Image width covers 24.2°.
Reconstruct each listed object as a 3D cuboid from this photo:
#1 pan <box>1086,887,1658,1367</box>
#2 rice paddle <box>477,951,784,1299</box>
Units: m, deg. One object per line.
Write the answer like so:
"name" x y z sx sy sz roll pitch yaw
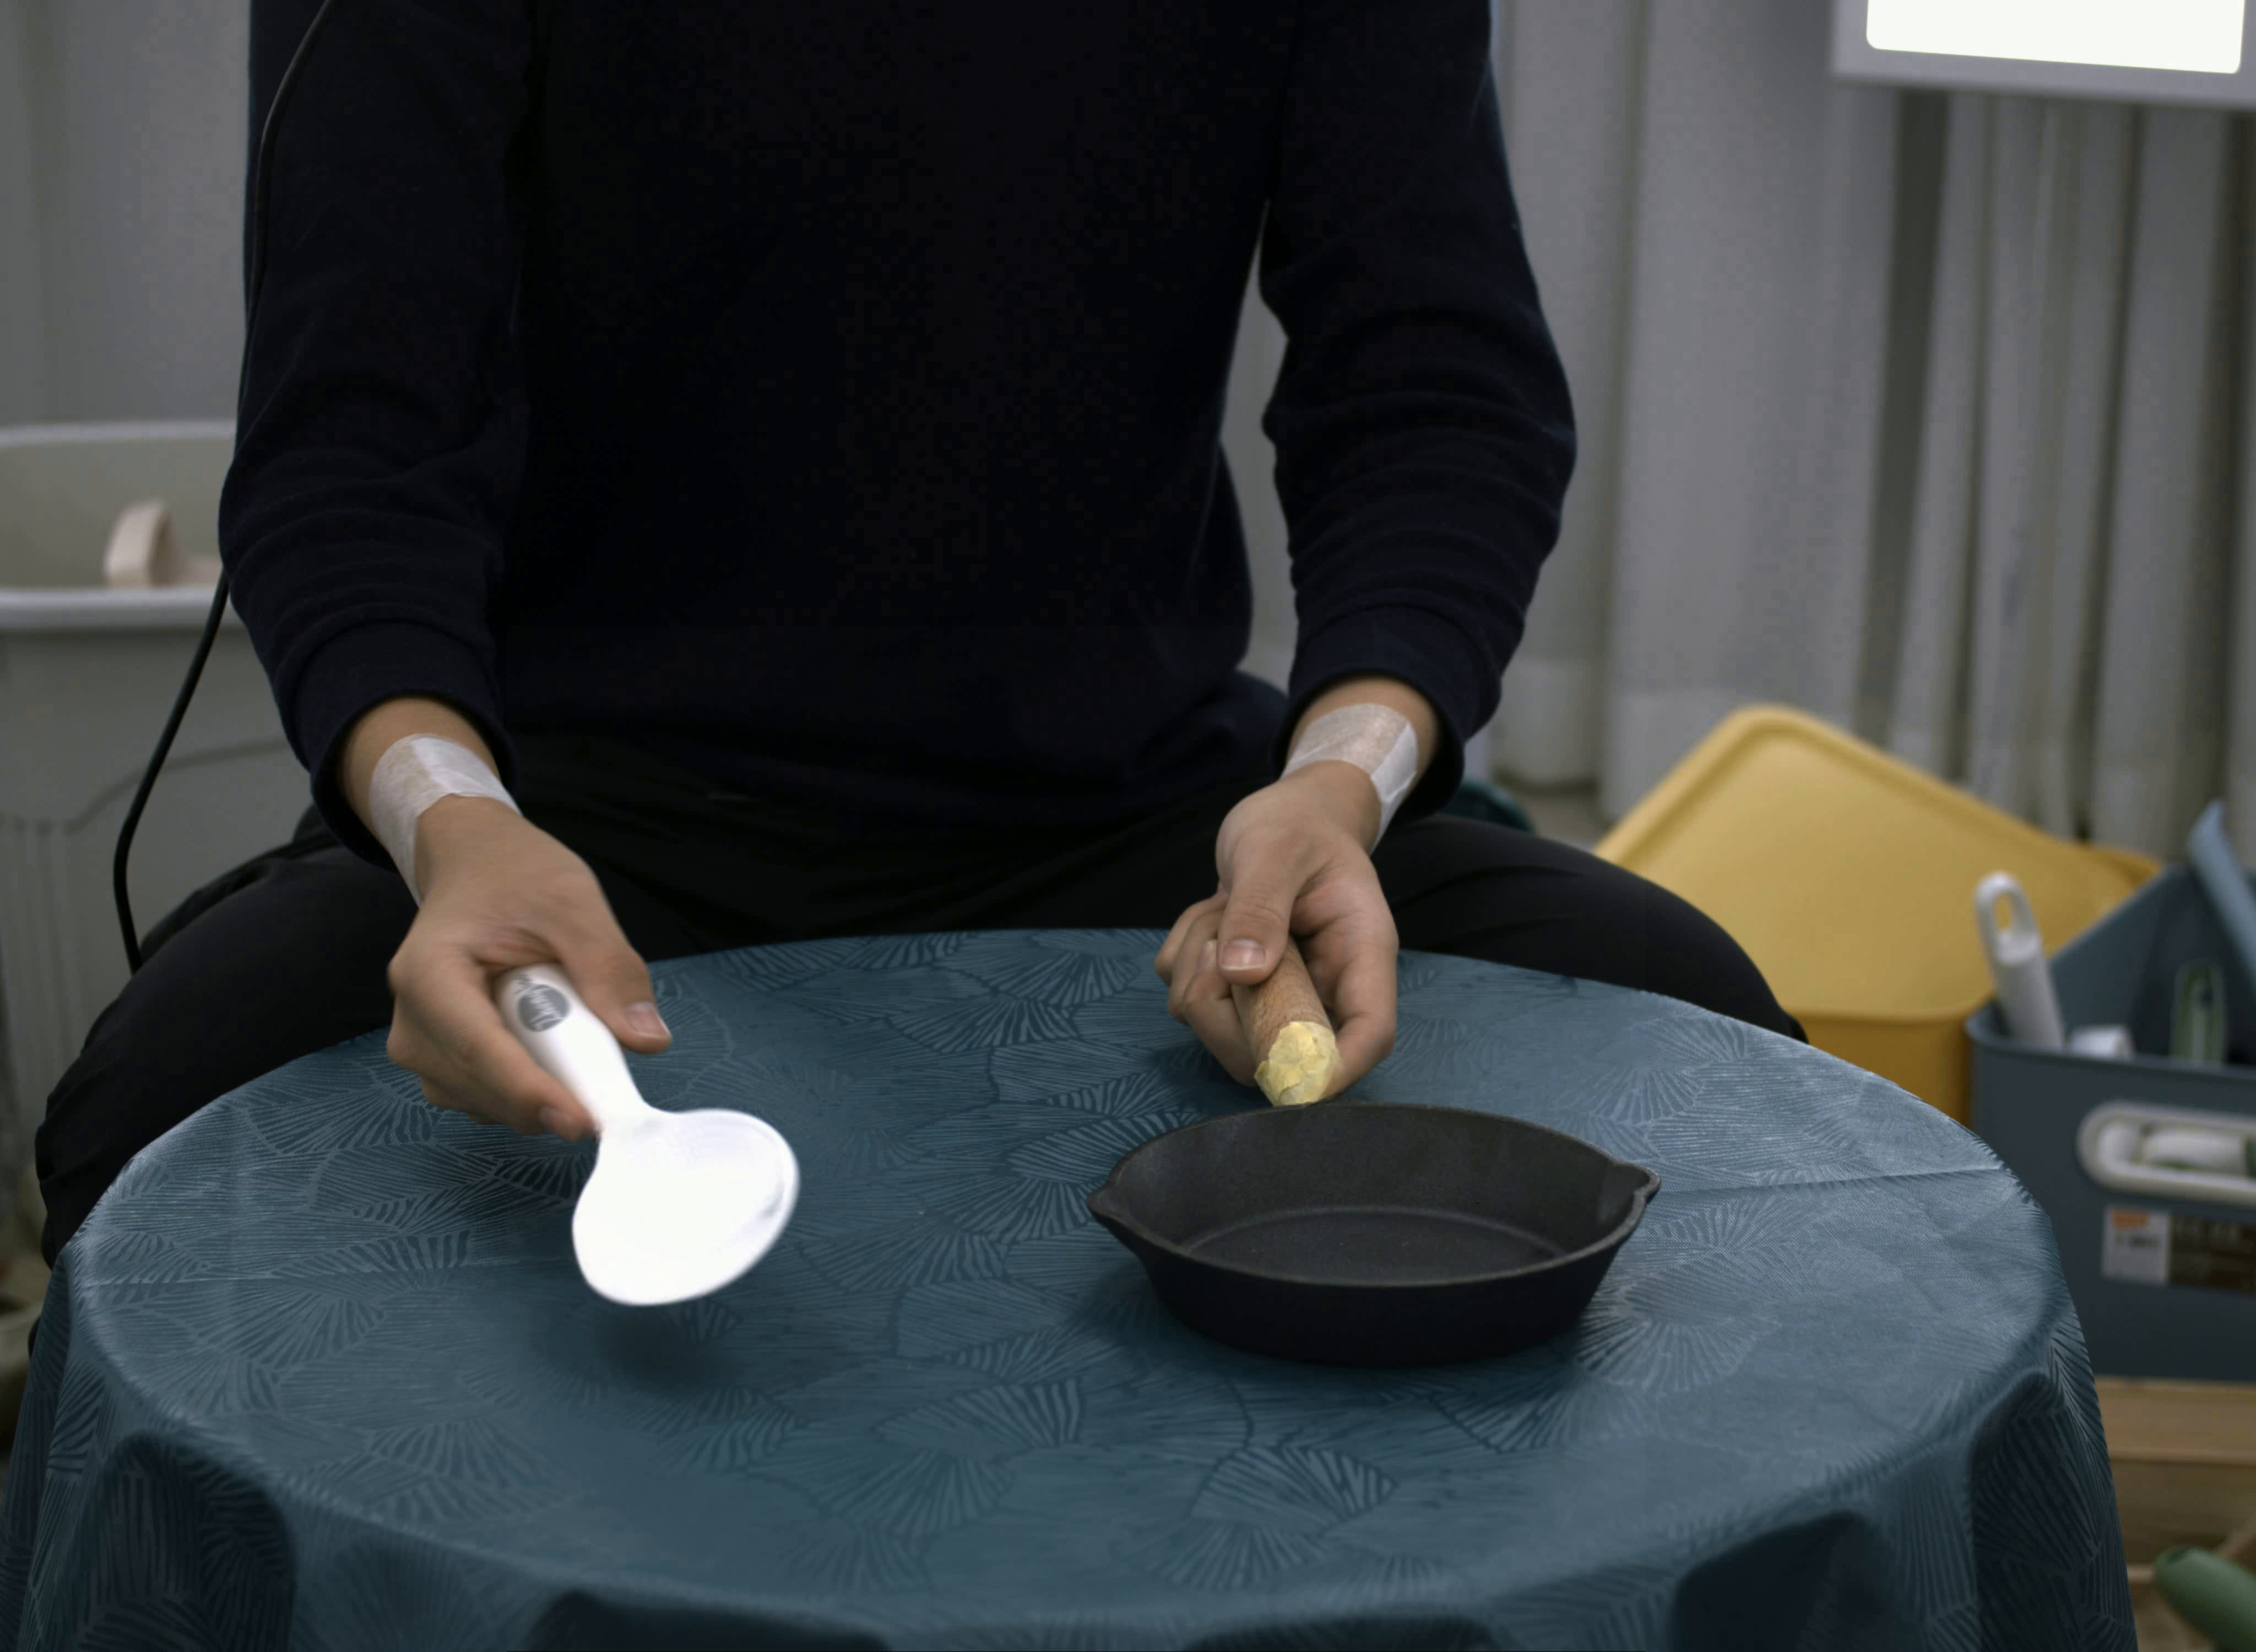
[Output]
"pan" 0.062 0.089 1.613 0.169 0.050 0.321 -1 17 -6
"rice paddle" -0.149 0.084 1.533 0.069 0.030 0.203 -40 29 -5
